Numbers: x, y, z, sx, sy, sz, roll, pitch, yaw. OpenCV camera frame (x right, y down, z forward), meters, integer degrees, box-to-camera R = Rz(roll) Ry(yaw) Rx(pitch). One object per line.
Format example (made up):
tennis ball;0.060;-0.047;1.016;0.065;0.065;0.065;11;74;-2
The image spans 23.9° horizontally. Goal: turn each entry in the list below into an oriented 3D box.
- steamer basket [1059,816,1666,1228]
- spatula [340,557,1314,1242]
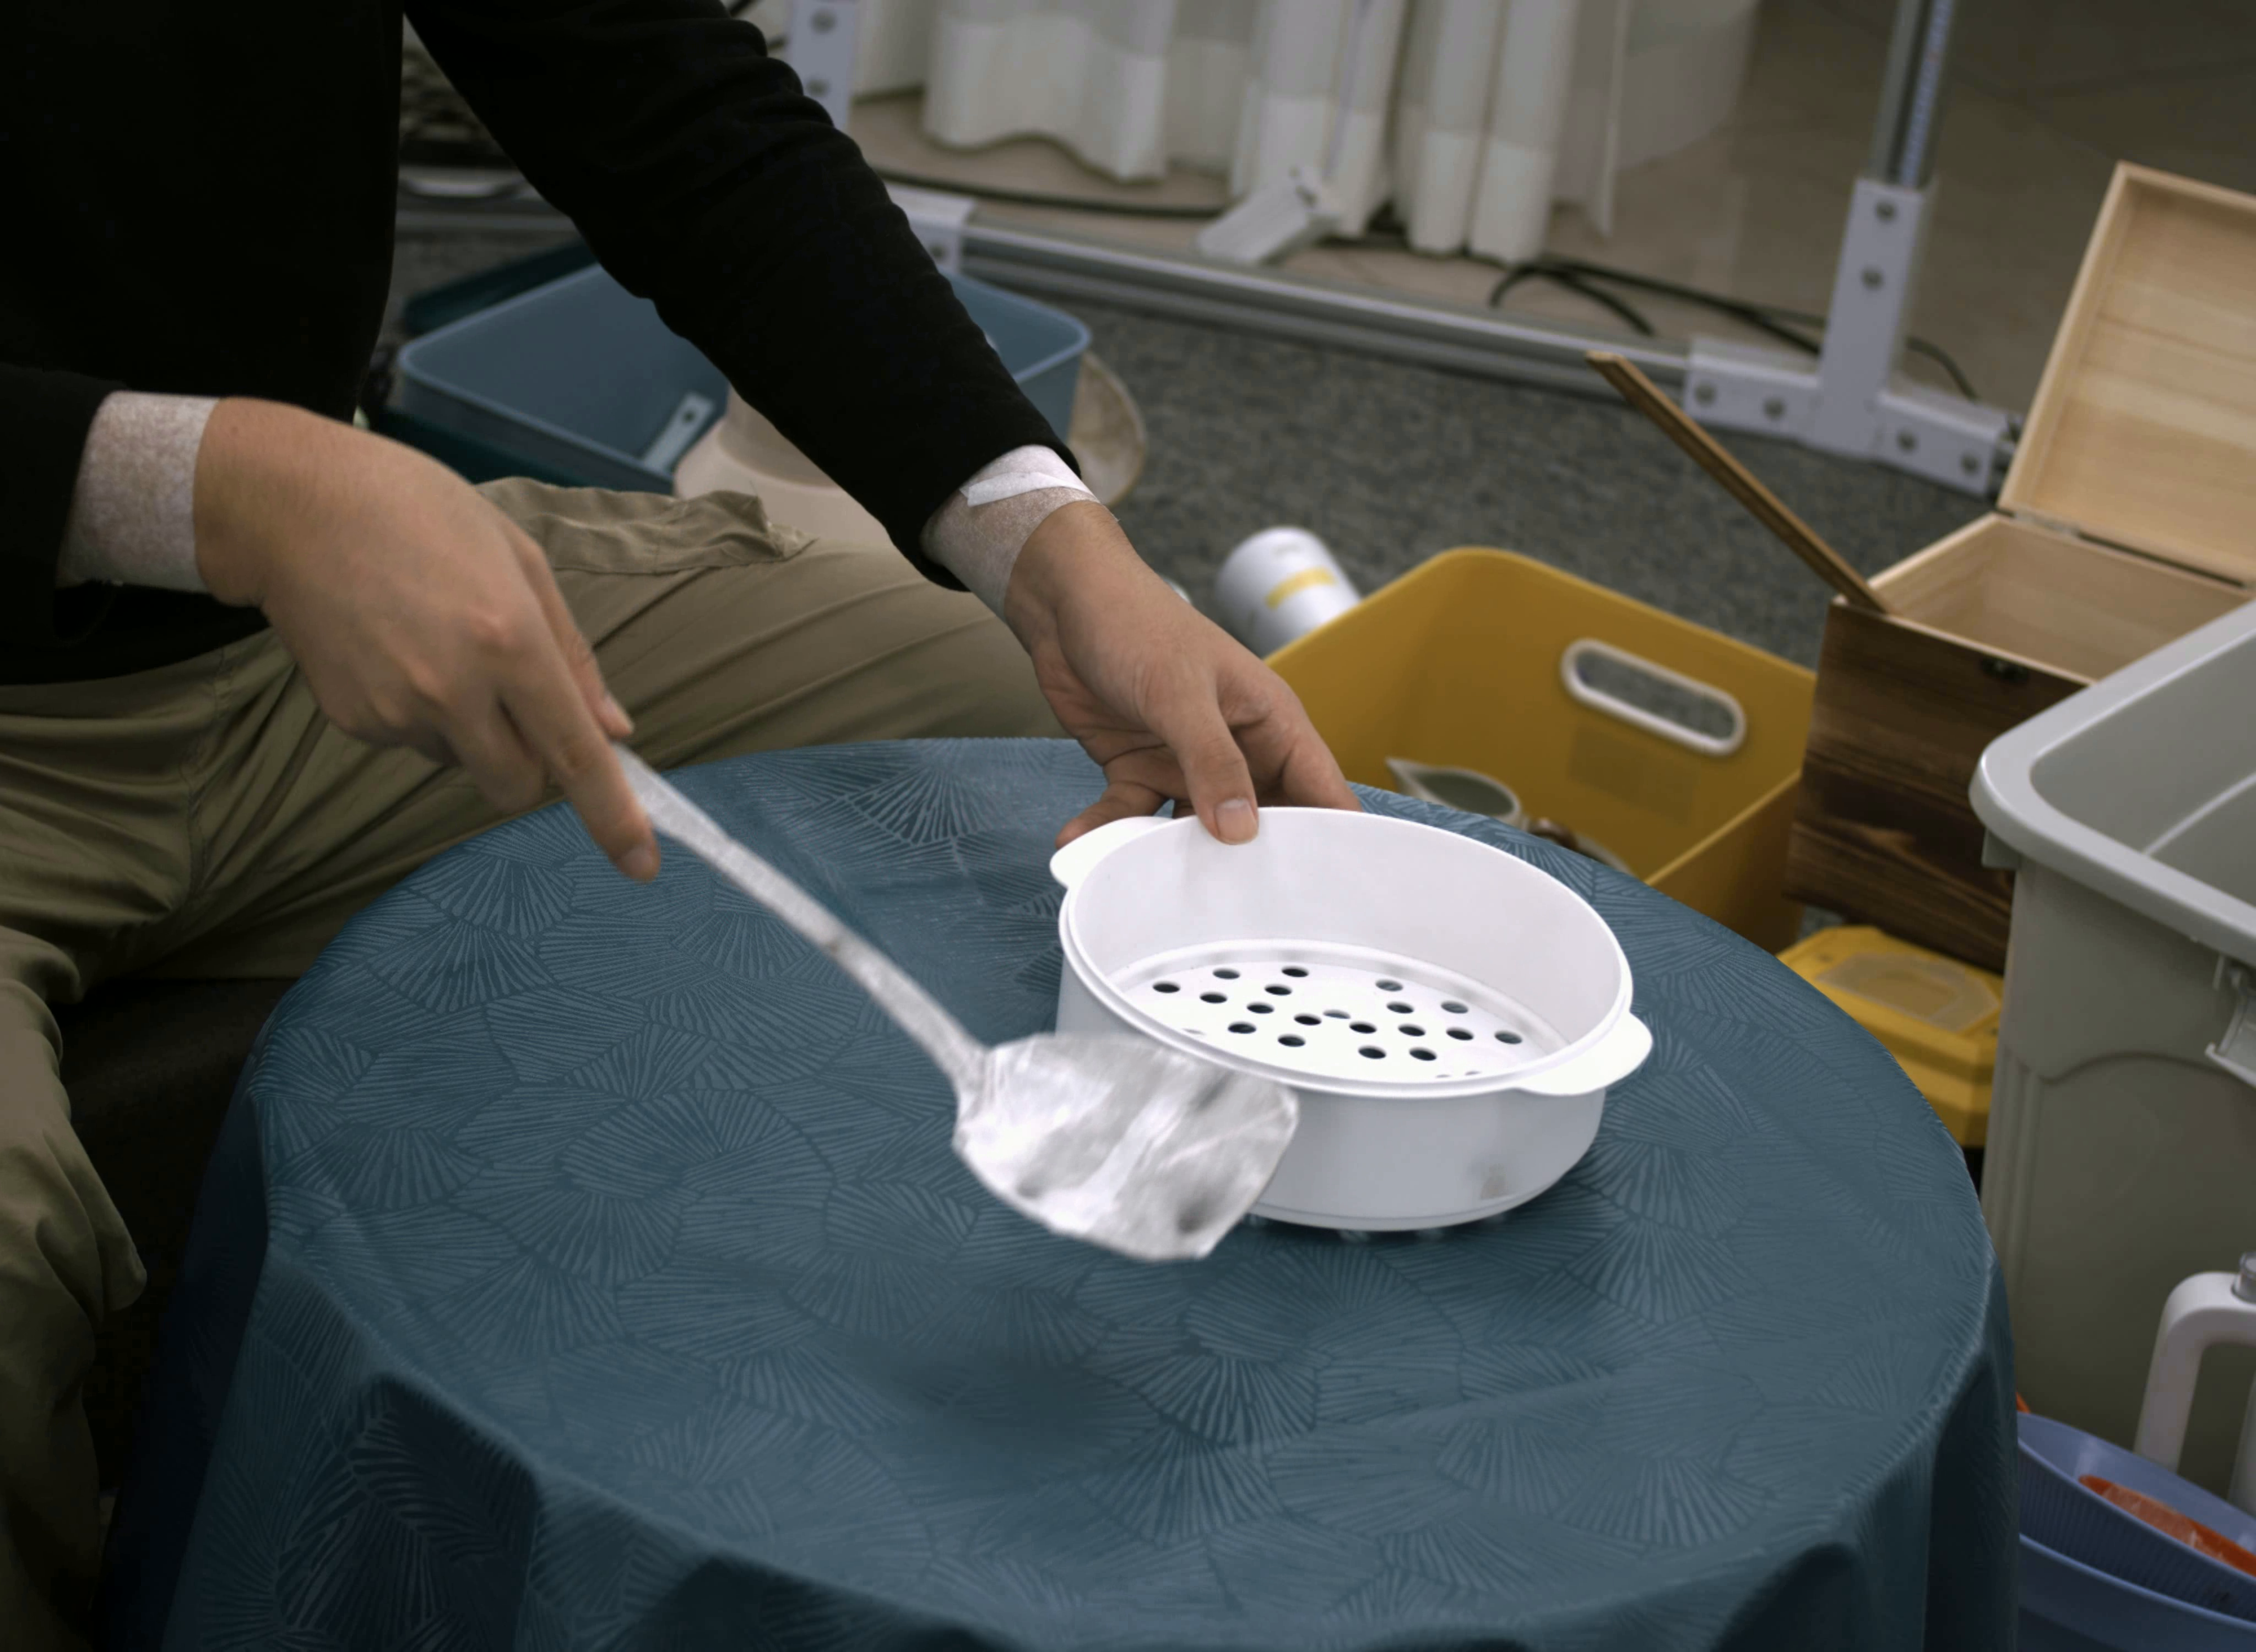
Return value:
steamer basket;0.076;0.068;1.850;0.232;0.069;0.201;23;30;31
spatula;-0.106;0.013;1.687;0.365;0.044;0.099;36;46;5
